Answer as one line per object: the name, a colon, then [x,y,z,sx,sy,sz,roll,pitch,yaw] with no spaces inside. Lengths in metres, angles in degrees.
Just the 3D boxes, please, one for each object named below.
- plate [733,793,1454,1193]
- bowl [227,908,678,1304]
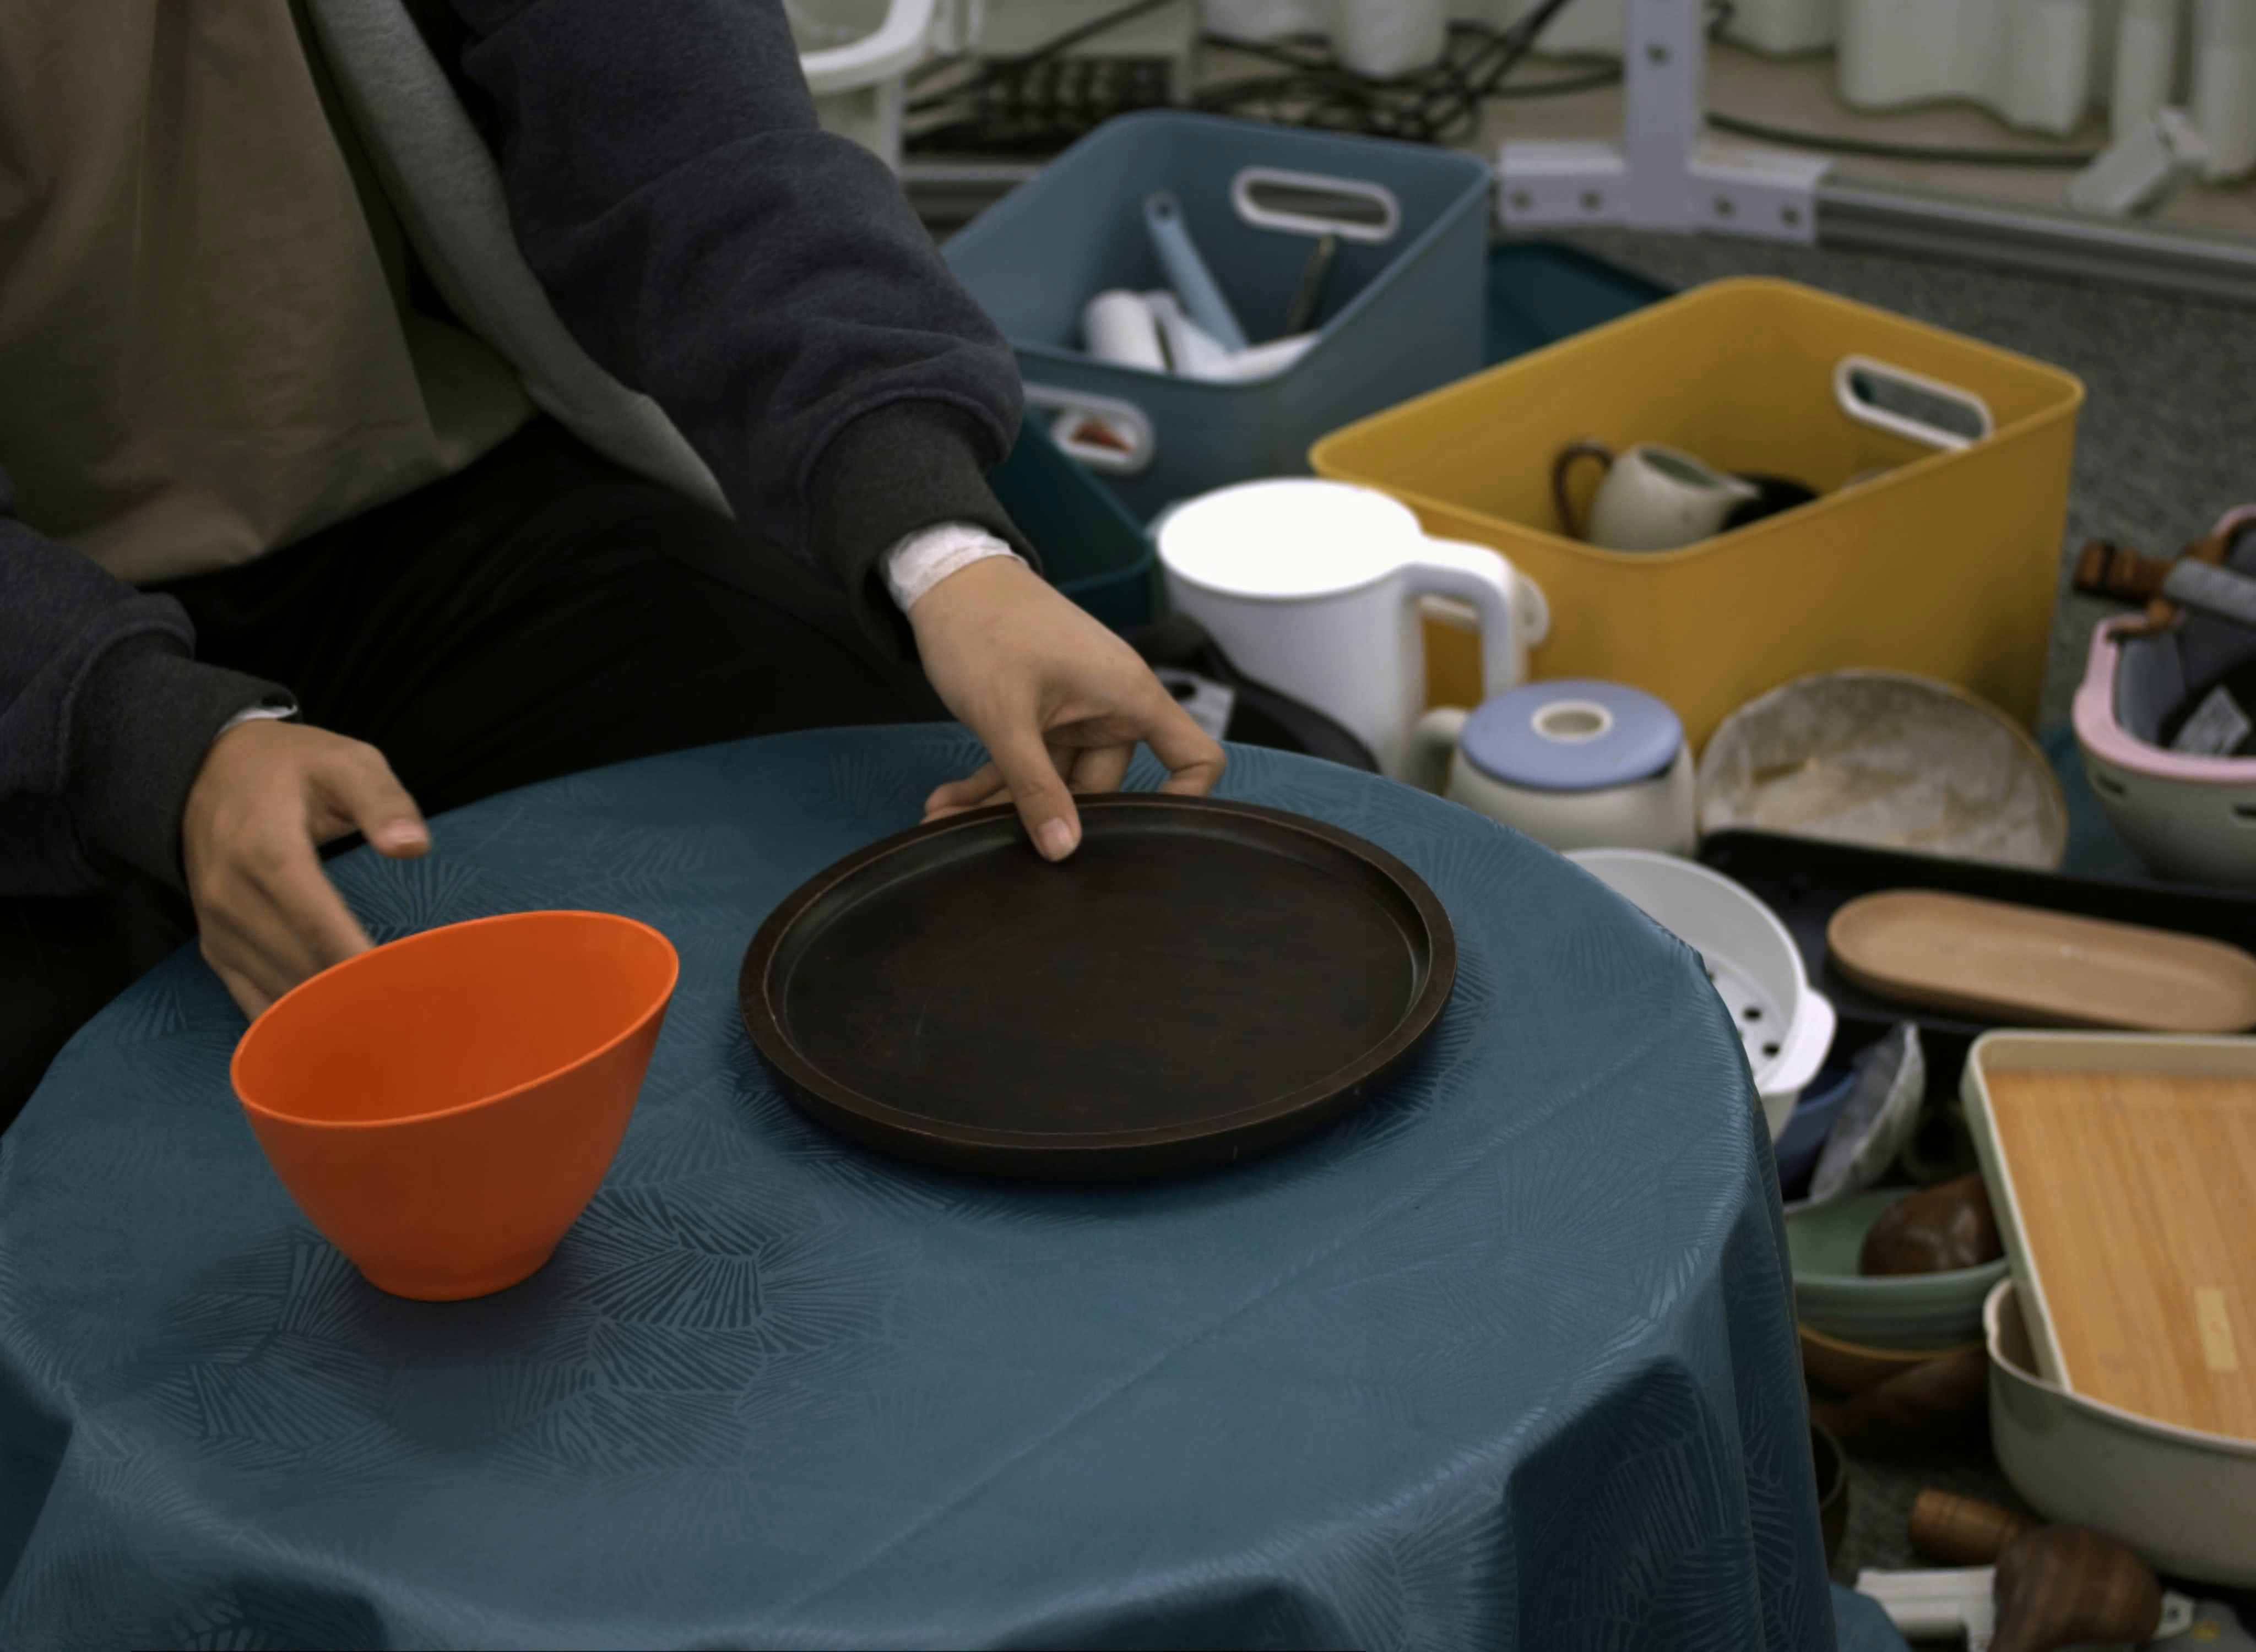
plate: [-0.012,0.056,1.965,0.253,0.029,0.259,-3,28,2]
bowl: [-0.215,0.097,1.822,0.147,0.103,0.150,-3,28,2]
